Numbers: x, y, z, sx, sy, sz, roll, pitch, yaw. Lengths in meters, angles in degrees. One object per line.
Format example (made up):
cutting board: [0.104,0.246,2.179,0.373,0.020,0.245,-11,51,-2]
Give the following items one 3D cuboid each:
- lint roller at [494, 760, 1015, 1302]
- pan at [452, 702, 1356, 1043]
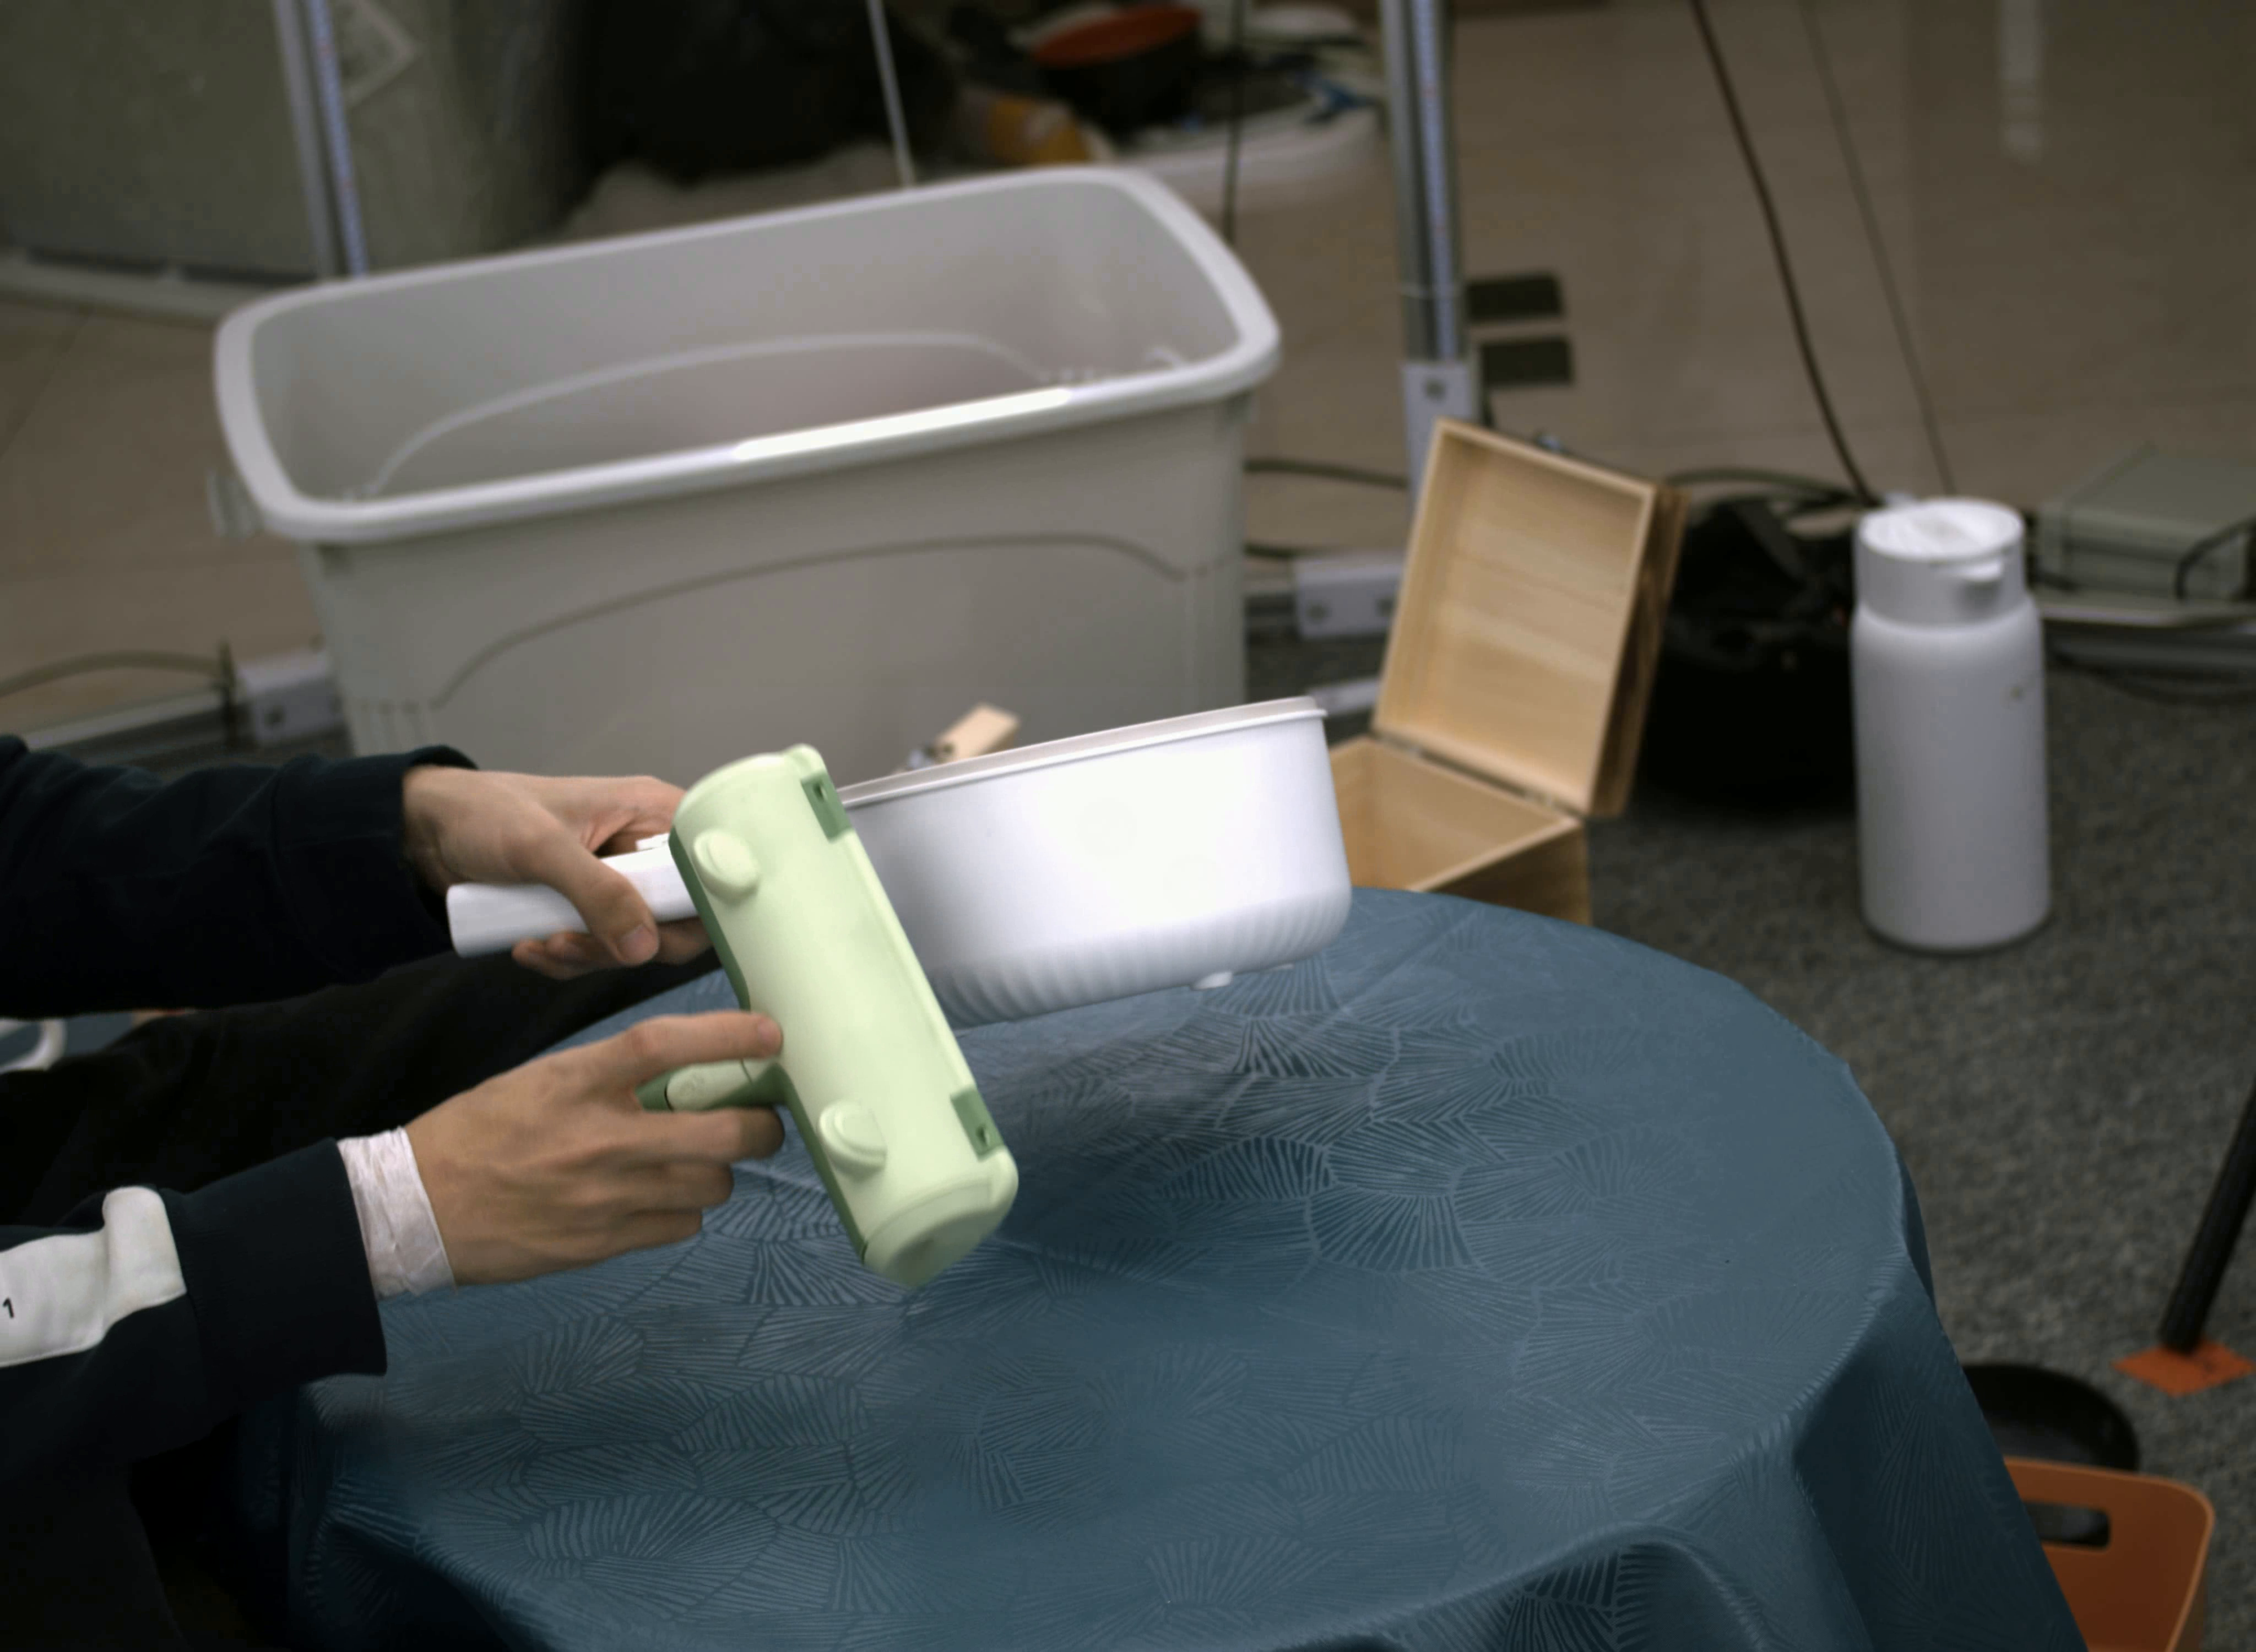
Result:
lint roller: [-0.154,0.096,2.003,0.183,0.083,0.196,-28,68,6]
pan: [-0.085,0.036,2.178,0.355,0.102,0.201,-11,-2,15]
